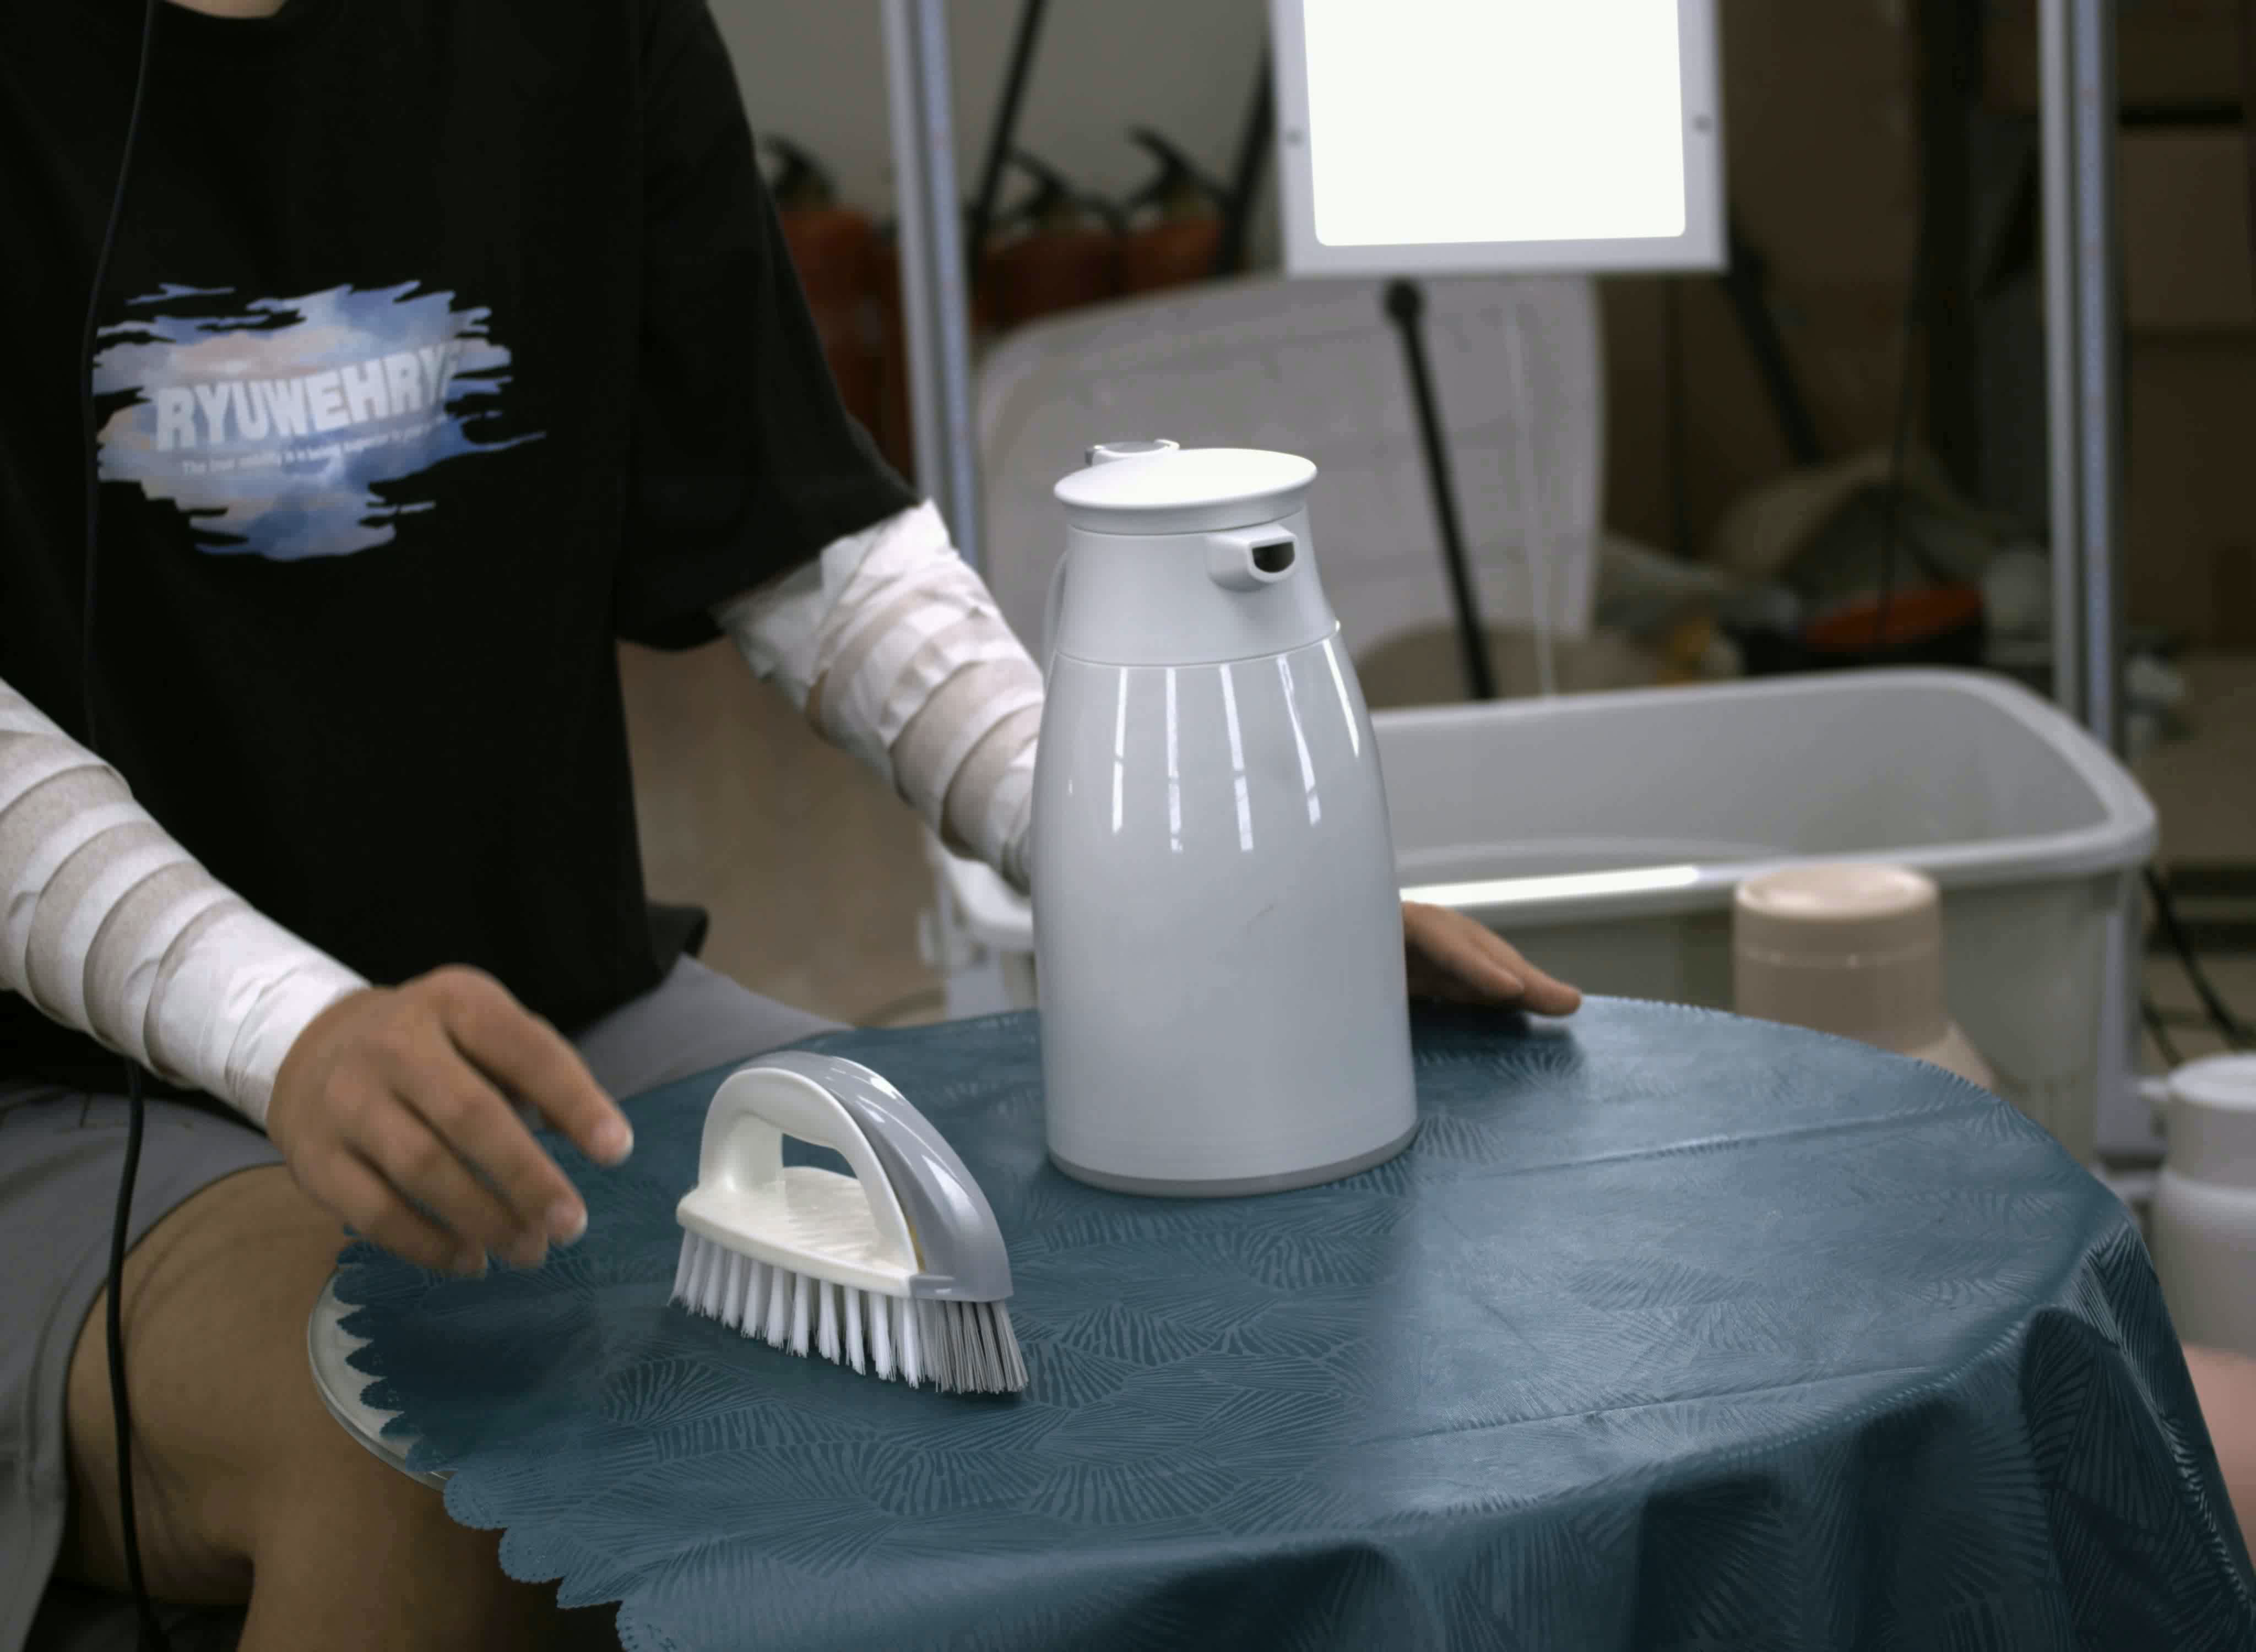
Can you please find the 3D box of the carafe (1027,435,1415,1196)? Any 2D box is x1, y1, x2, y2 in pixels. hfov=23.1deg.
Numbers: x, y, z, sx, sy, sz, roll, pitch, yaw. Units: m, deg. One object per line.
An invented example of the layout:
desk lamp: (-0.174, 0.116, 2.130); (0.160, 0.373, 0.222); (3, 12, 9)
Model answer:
carafe: (0.017, -0.011, 1.933); (0.130, 0.249, 0.170); (-12, 15, -26)

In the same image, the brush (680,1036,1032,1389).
brush: (-0.084, 0.120, 1.762); (0.060, 0.094, 0.179); (-16, 19, -30)
